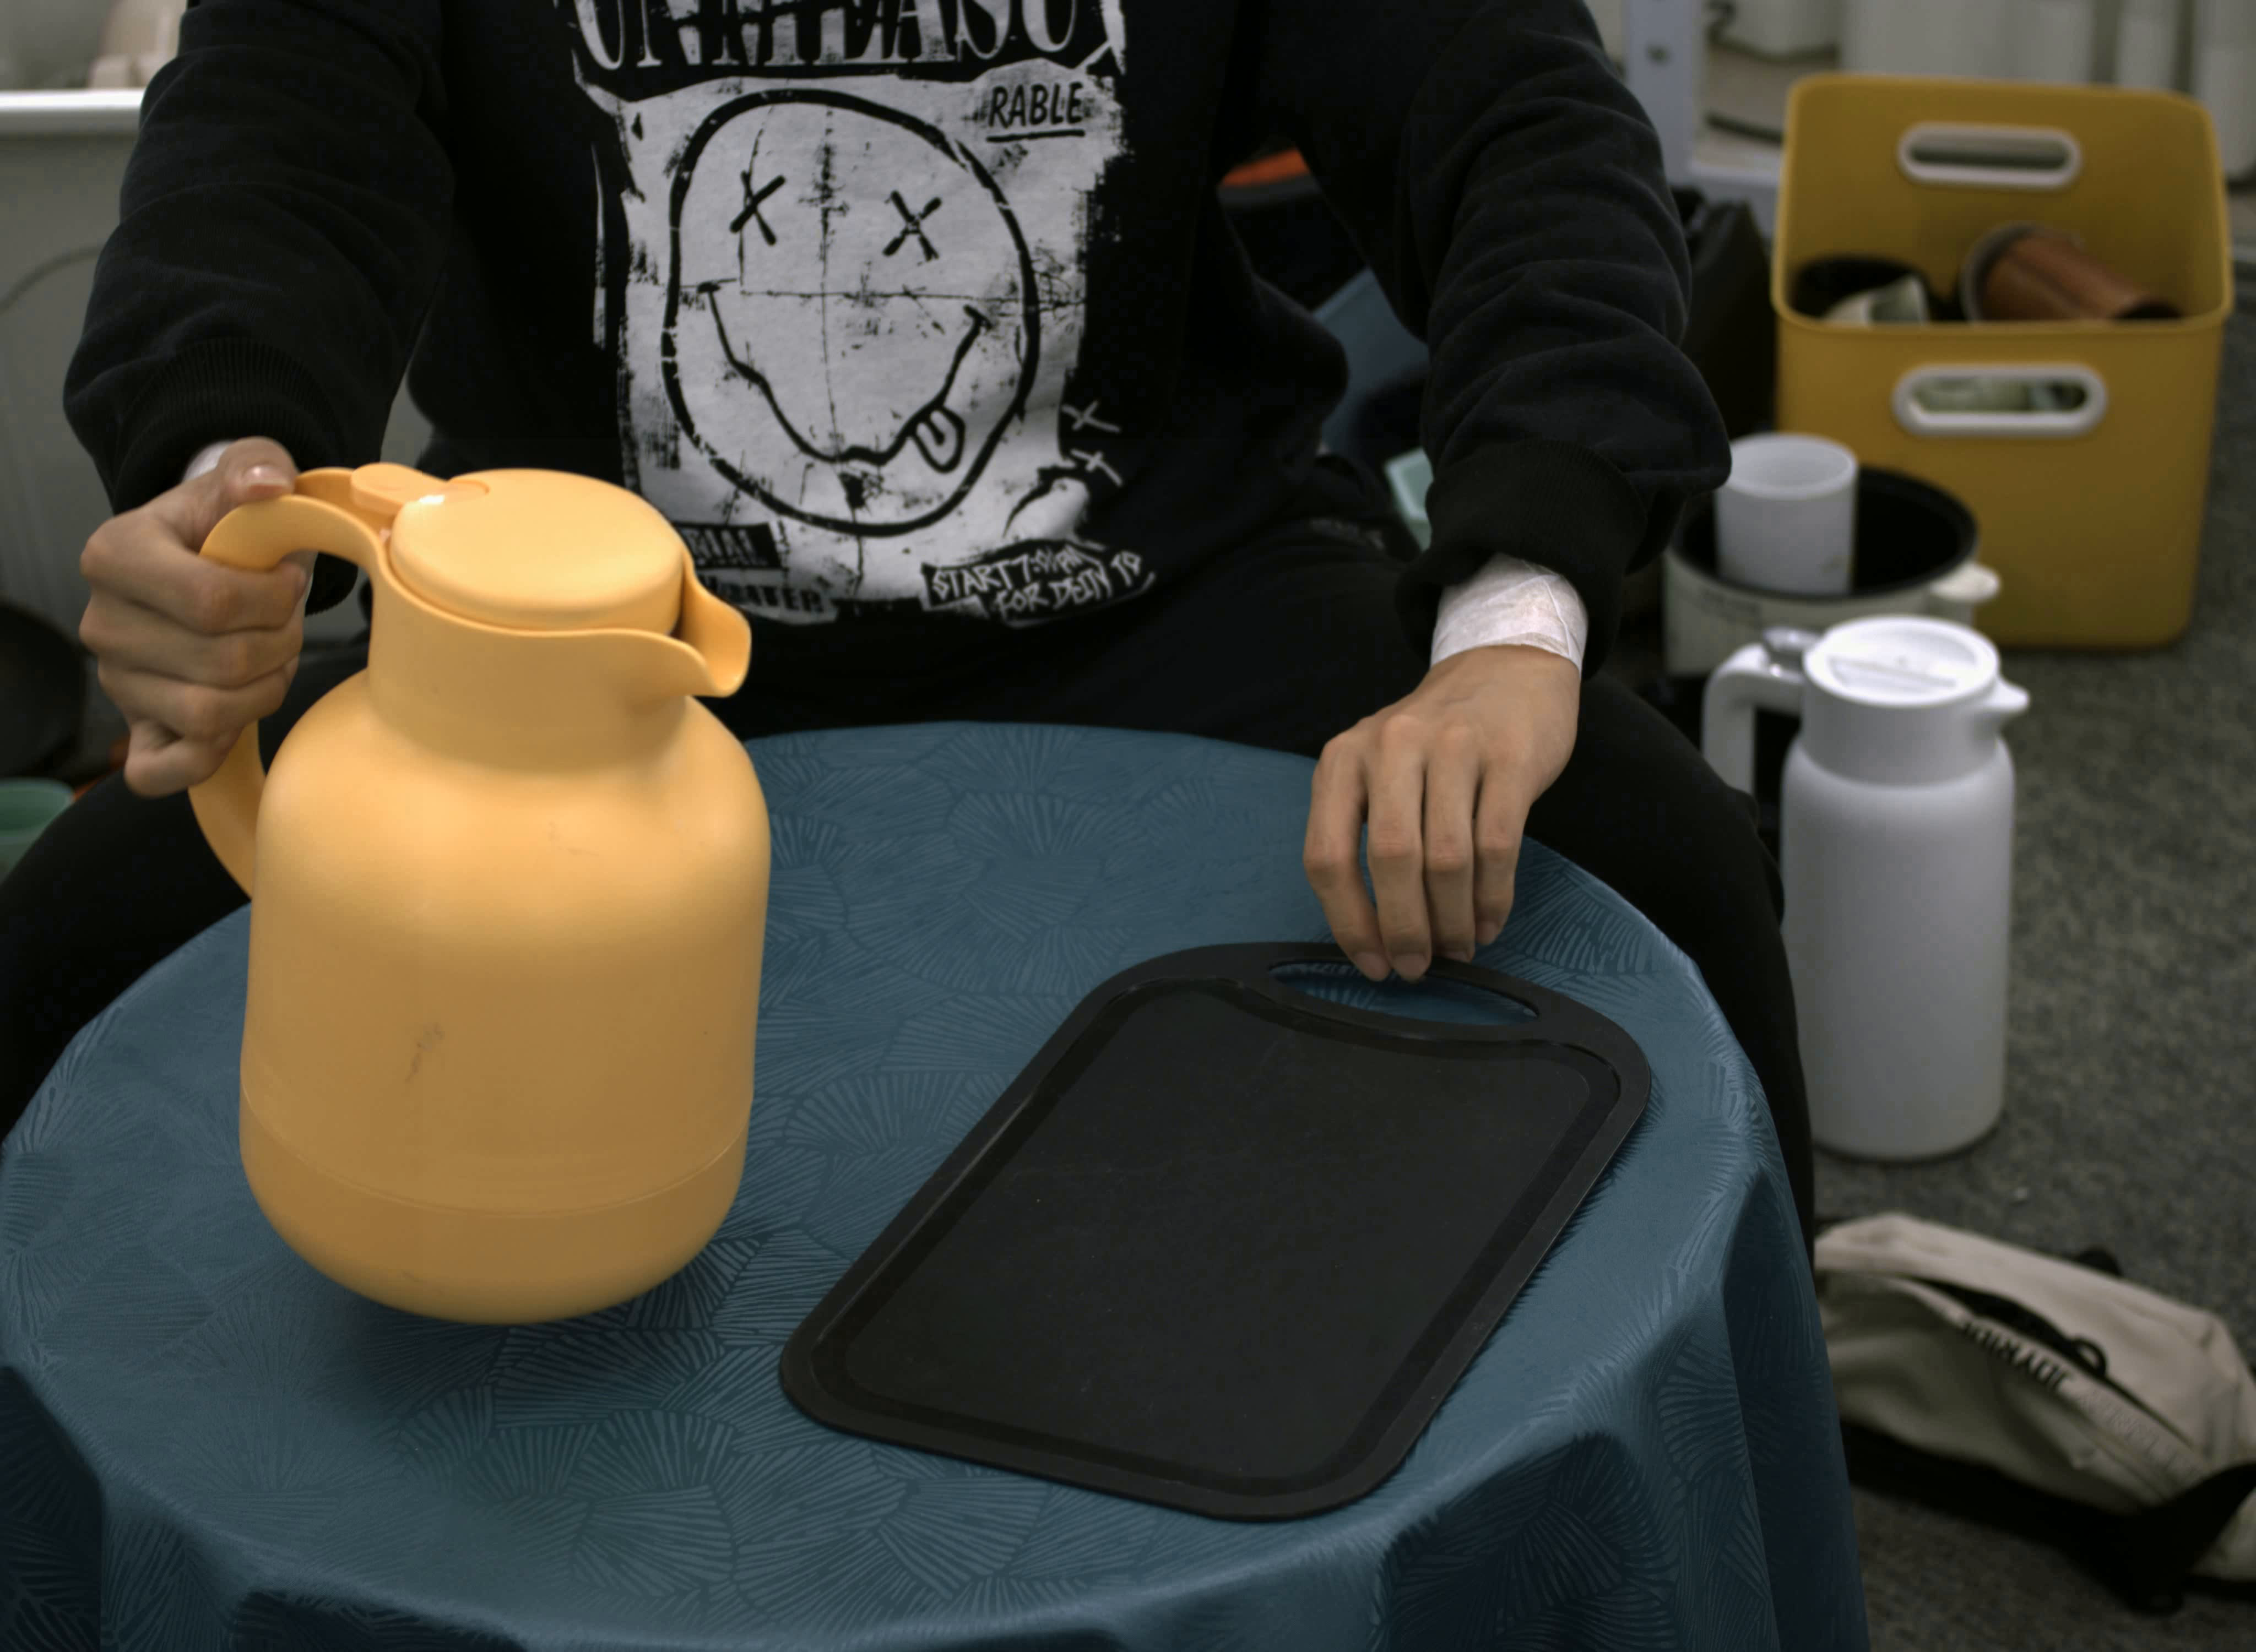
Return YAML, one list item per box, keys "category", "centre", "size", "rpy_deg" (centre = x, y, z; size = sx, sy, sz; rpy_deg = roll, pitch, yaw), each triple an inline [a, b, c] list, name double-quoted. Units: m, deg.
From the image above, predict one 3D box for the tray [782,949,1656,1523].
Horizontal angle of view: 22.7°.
- category: "tray"
  centre: [0.037, 0.122, 1.841]
  size: [0.210, 0.009, 0.331]
  rpy_deg: [10, 31, 23]

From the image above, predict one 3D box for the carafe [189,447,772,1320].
- category: "carafe"
  centre: [-0.208, 0.007, 1.766]
  size: [0.202, 0.257, 0.166]
  rpy_deg: [23, 29, 23]
